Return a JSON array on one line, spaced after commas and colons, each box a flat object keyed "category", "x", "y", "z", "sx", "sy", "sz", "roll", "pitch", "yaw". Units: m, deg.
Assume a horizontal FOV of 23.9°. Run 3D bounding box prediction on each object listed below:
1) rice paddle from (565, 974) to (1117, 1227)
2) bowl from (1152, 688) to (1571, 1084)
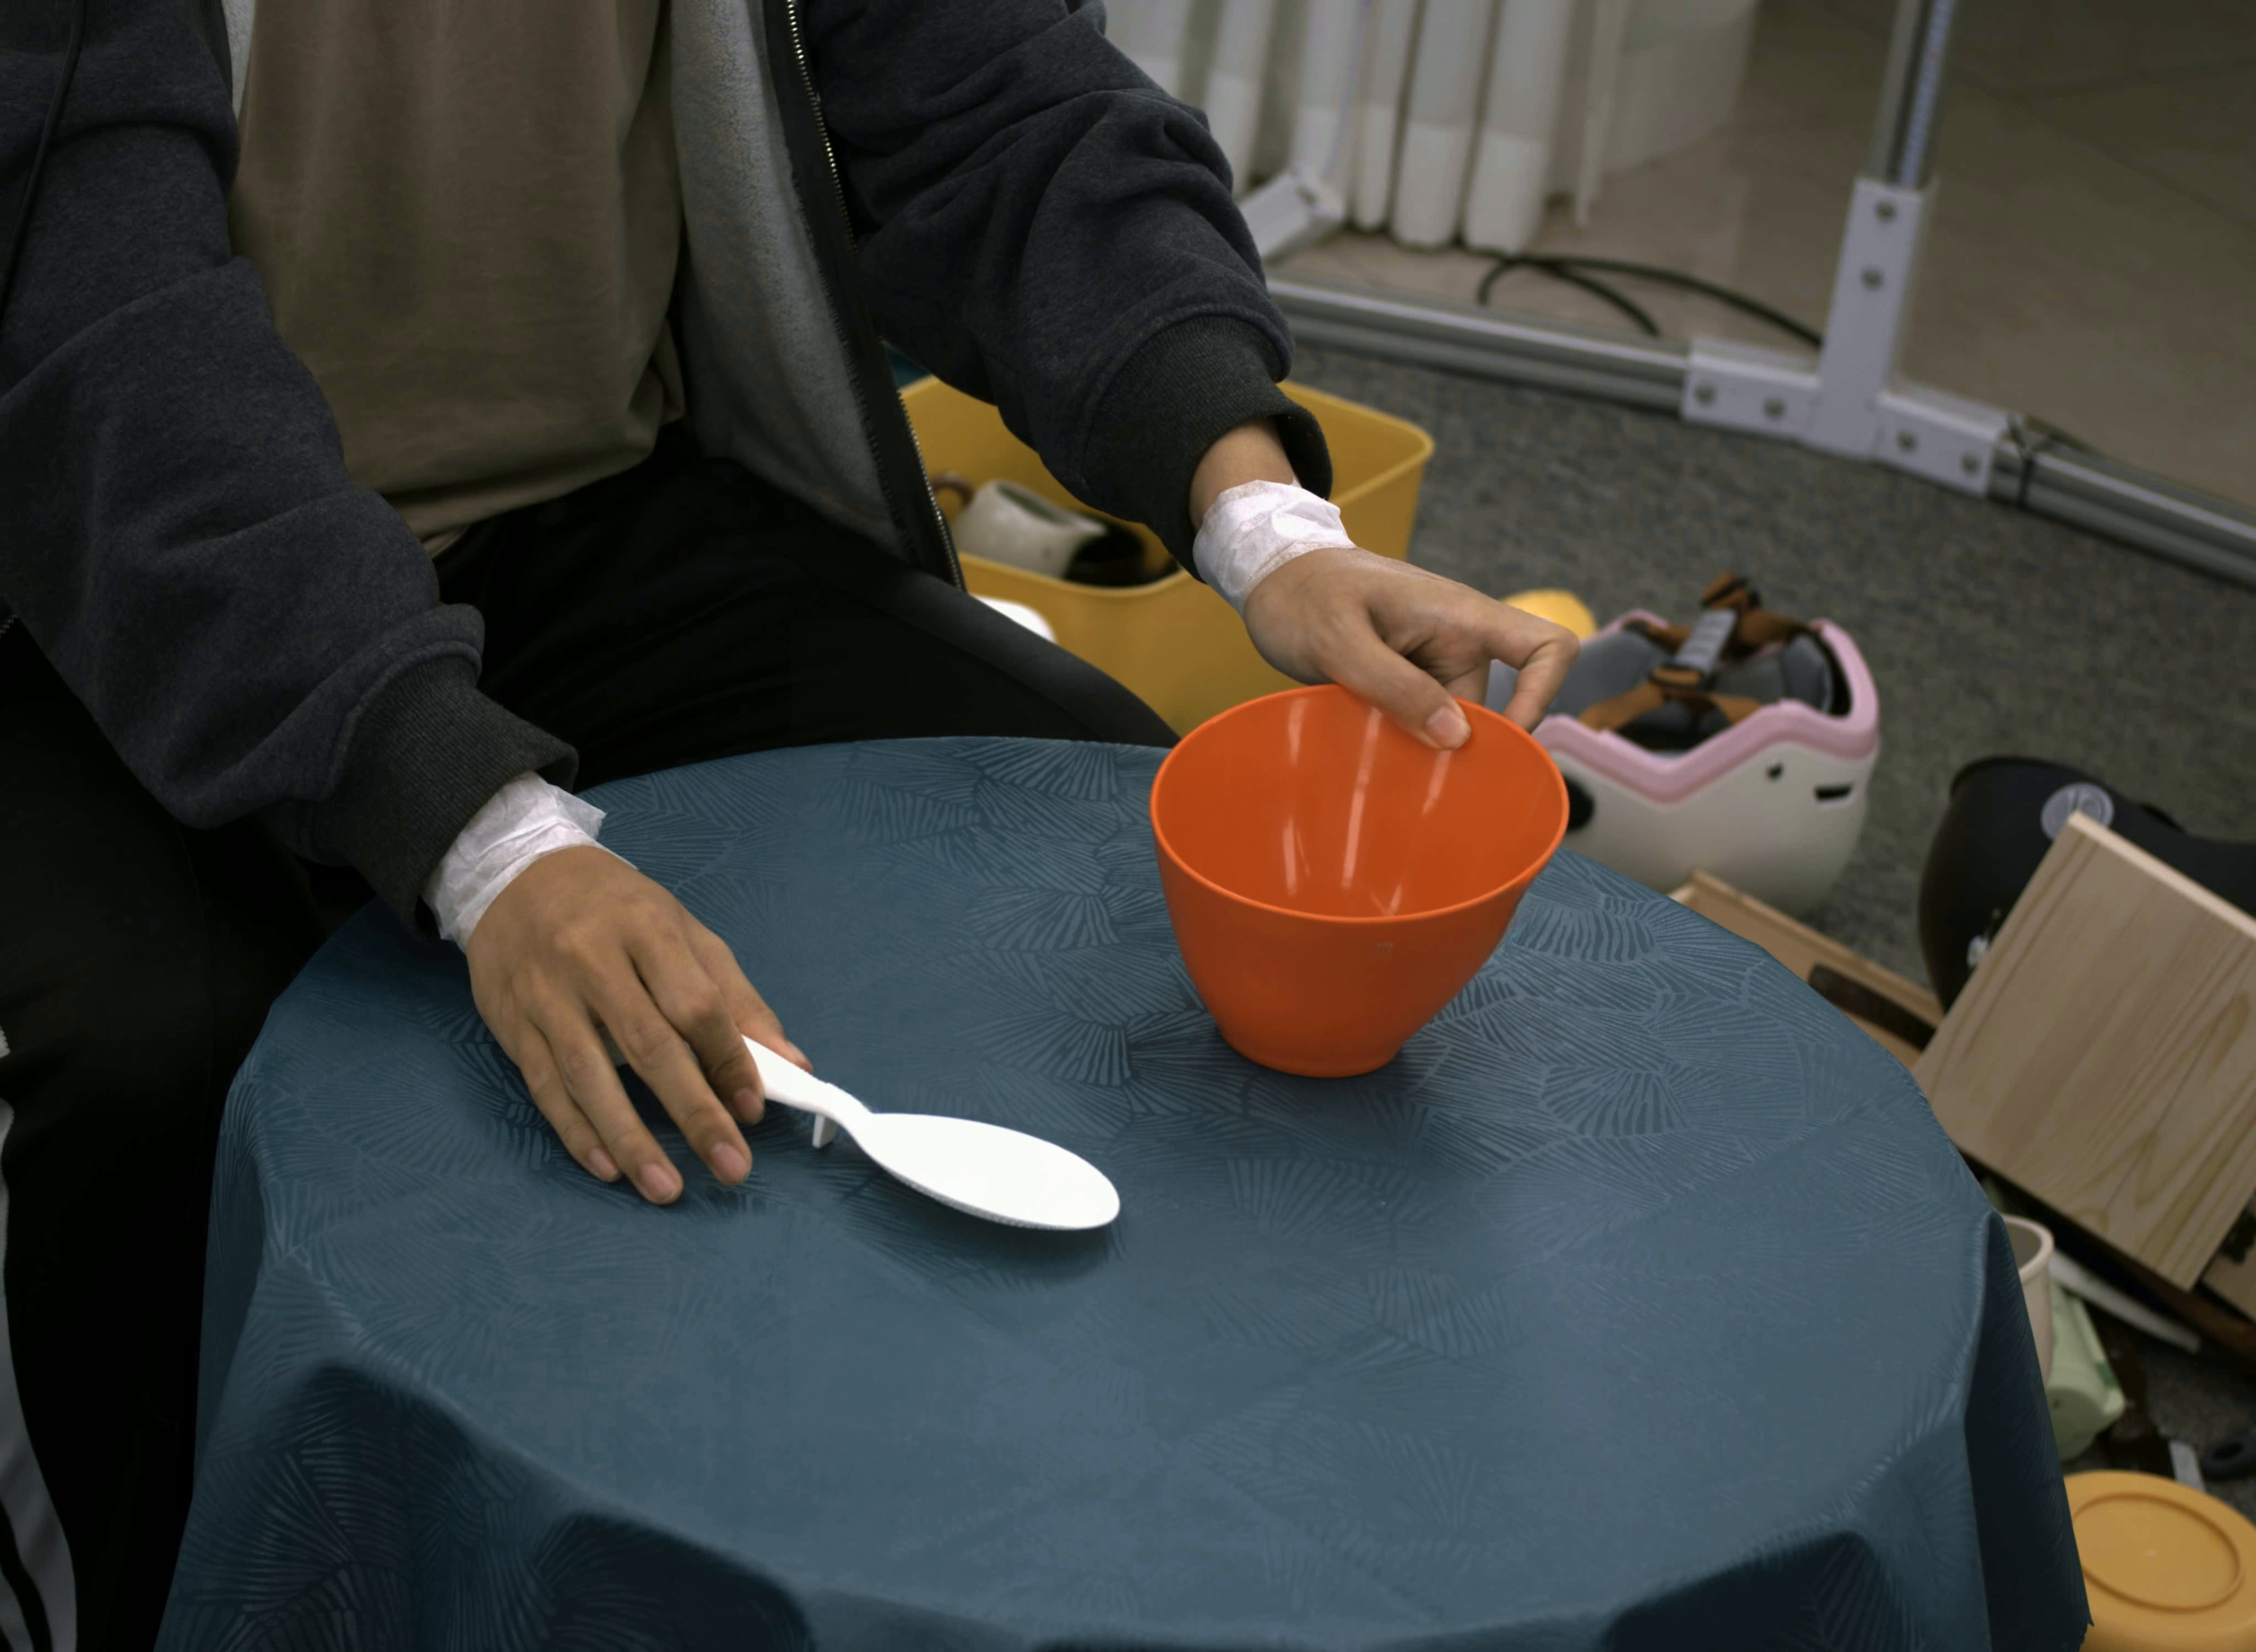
[{"category": "rice paddle", "x": -0.096, "y": 0.096, "z": 1.800, "sx": 0.206, "sy": 0.029, "sz": 0.068, "roll": 19, "pitch": 21, "yaw": 21}, {"category": "bowl", "x": 0.078, "y": 0.028, "z": 1.897, "sx": 0.147, "sy": 0.104, "sz": 0.149, "roll": 5, "pitch": 28, "yaw": -3}]
